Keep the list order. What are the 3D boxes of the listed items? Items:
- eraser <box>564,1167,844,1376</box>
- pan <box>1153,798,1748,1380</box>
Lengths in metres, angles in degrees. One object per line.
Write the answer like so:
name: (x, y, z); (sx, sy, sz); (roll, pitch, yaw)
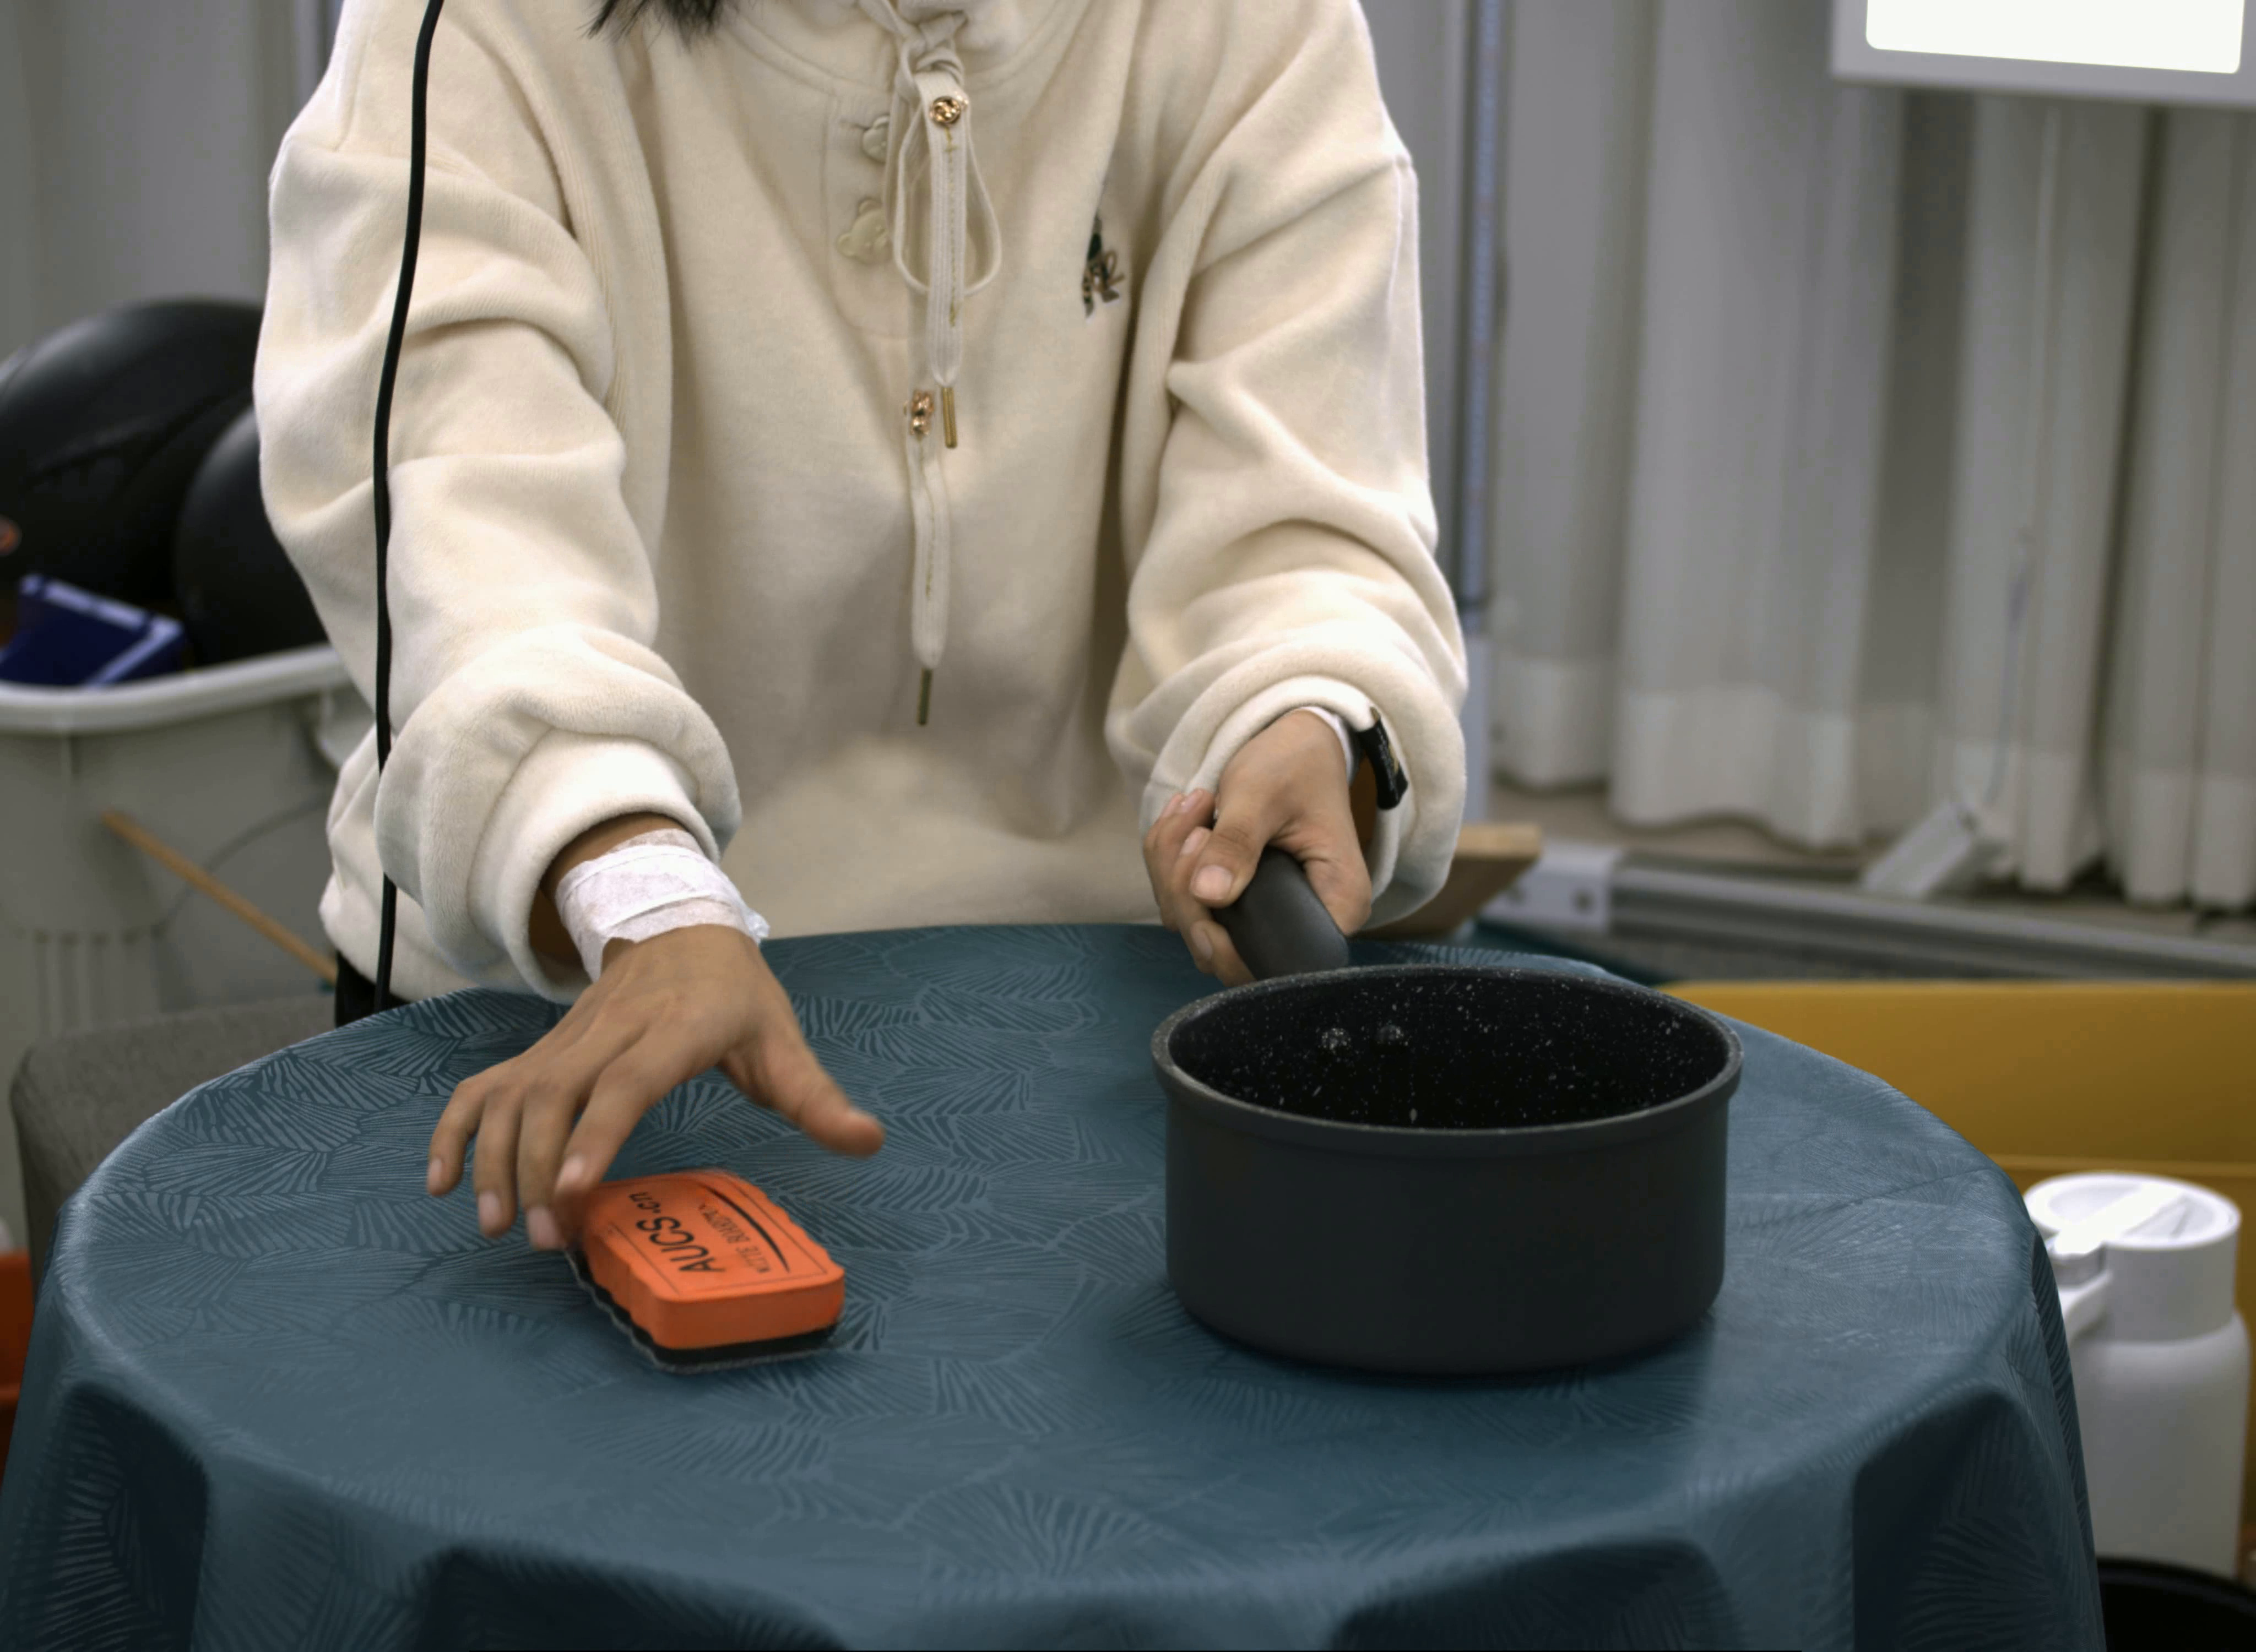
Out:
eraser: (-0.123, 0.127, 1.519); (0.059, 0.023, 0.107); (-7, 17, -20)
pan: (0.076, 0.075, 1.599); (0.172, 0.087, 0.325); (-3, 16, -12)
